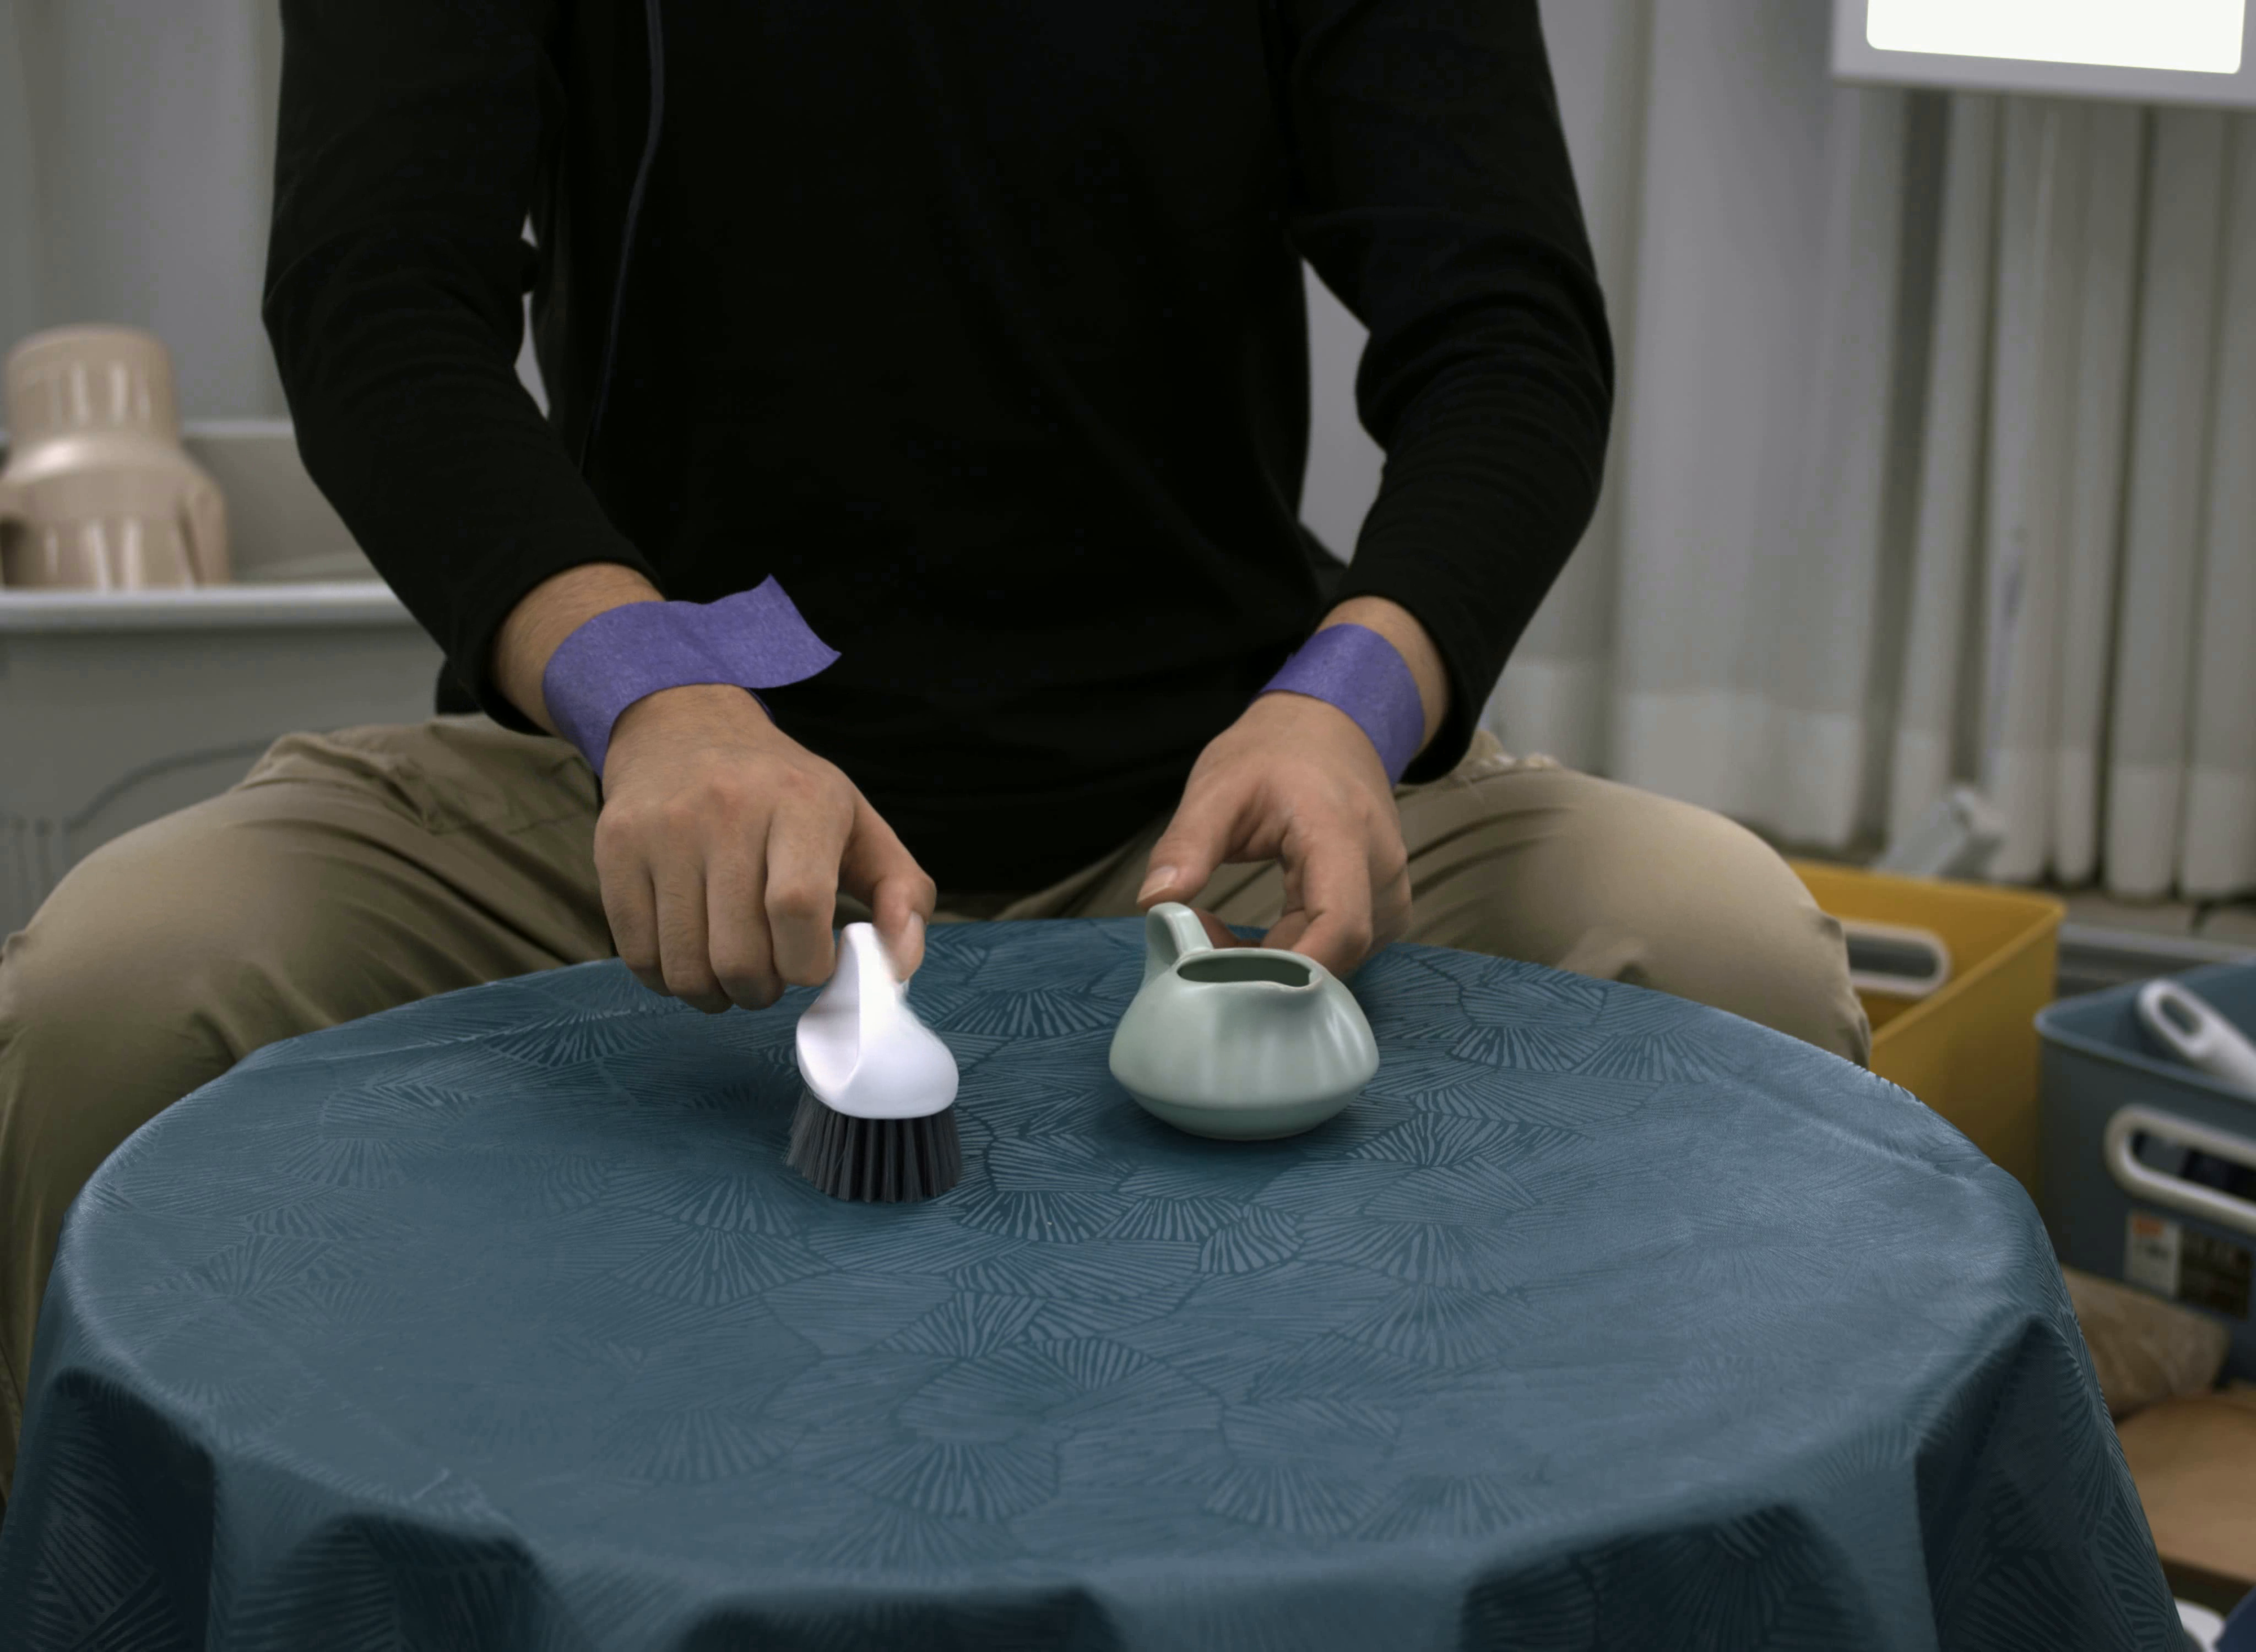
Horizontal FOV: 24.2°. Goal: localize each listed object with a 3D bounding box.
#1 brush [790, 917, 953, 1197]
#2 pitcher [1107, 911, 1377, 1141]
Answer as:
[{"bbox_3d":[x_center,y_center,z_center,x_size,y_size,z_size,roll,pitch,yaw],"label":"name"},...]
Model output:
[{"bbox_3d":[-0.080,0.067,1.644,0.050,0.073,0.098,0,17,-7],"label":"brush"},{"bbox_3d":[0.031,0.065,1.692,0.086,0.061,0.106,-8,15,-29],"label":"pitcher"}]
